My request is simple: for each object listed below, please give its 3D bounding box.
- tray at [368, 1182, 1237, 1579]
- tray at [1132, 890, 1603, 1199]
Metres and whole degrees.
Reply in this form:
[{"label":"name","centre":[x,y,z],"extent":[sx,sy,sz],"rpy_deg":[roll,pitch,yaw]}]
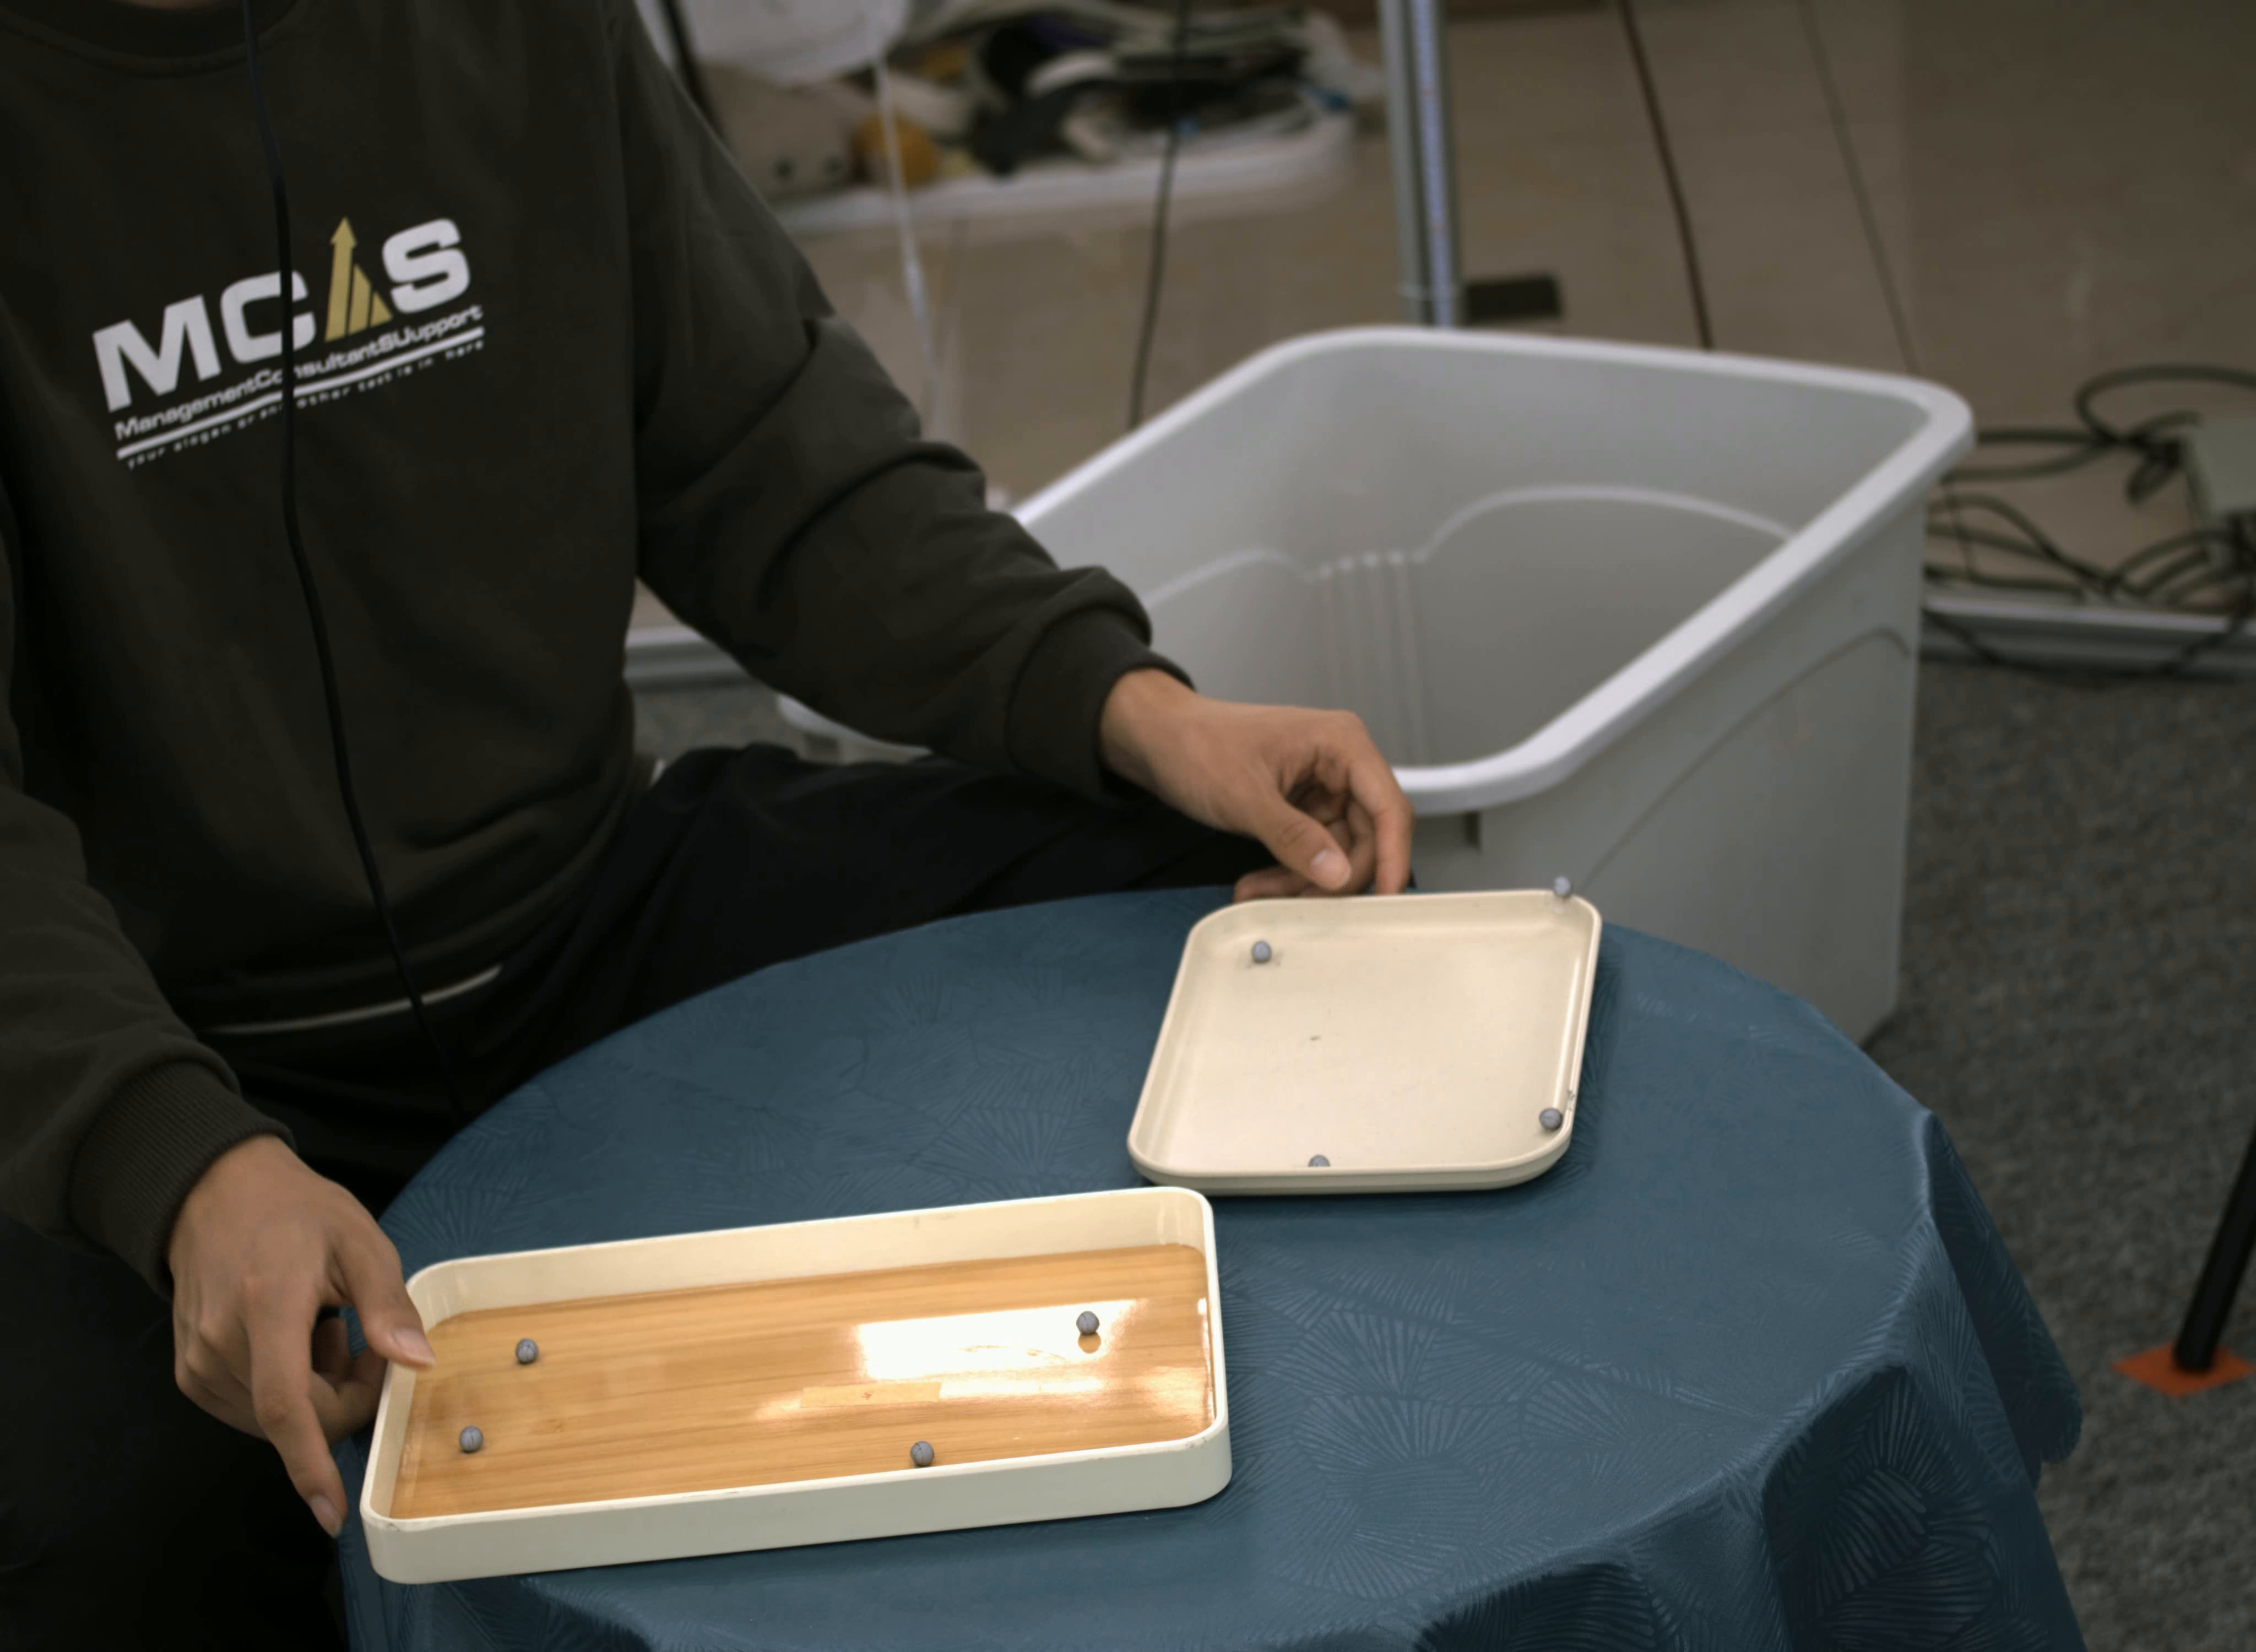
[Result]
[{"label":"tray","centre":[-0.114,0.195,2.020],"extent":[0.300,0.028,0.189],"rpy_deg":[-6,24,1]},{"label":"tray","centre":[0.097,0.085,2.220],"extent":[0.171,0.018,0.236],"rpy_deg":[-3,25,10]}]
